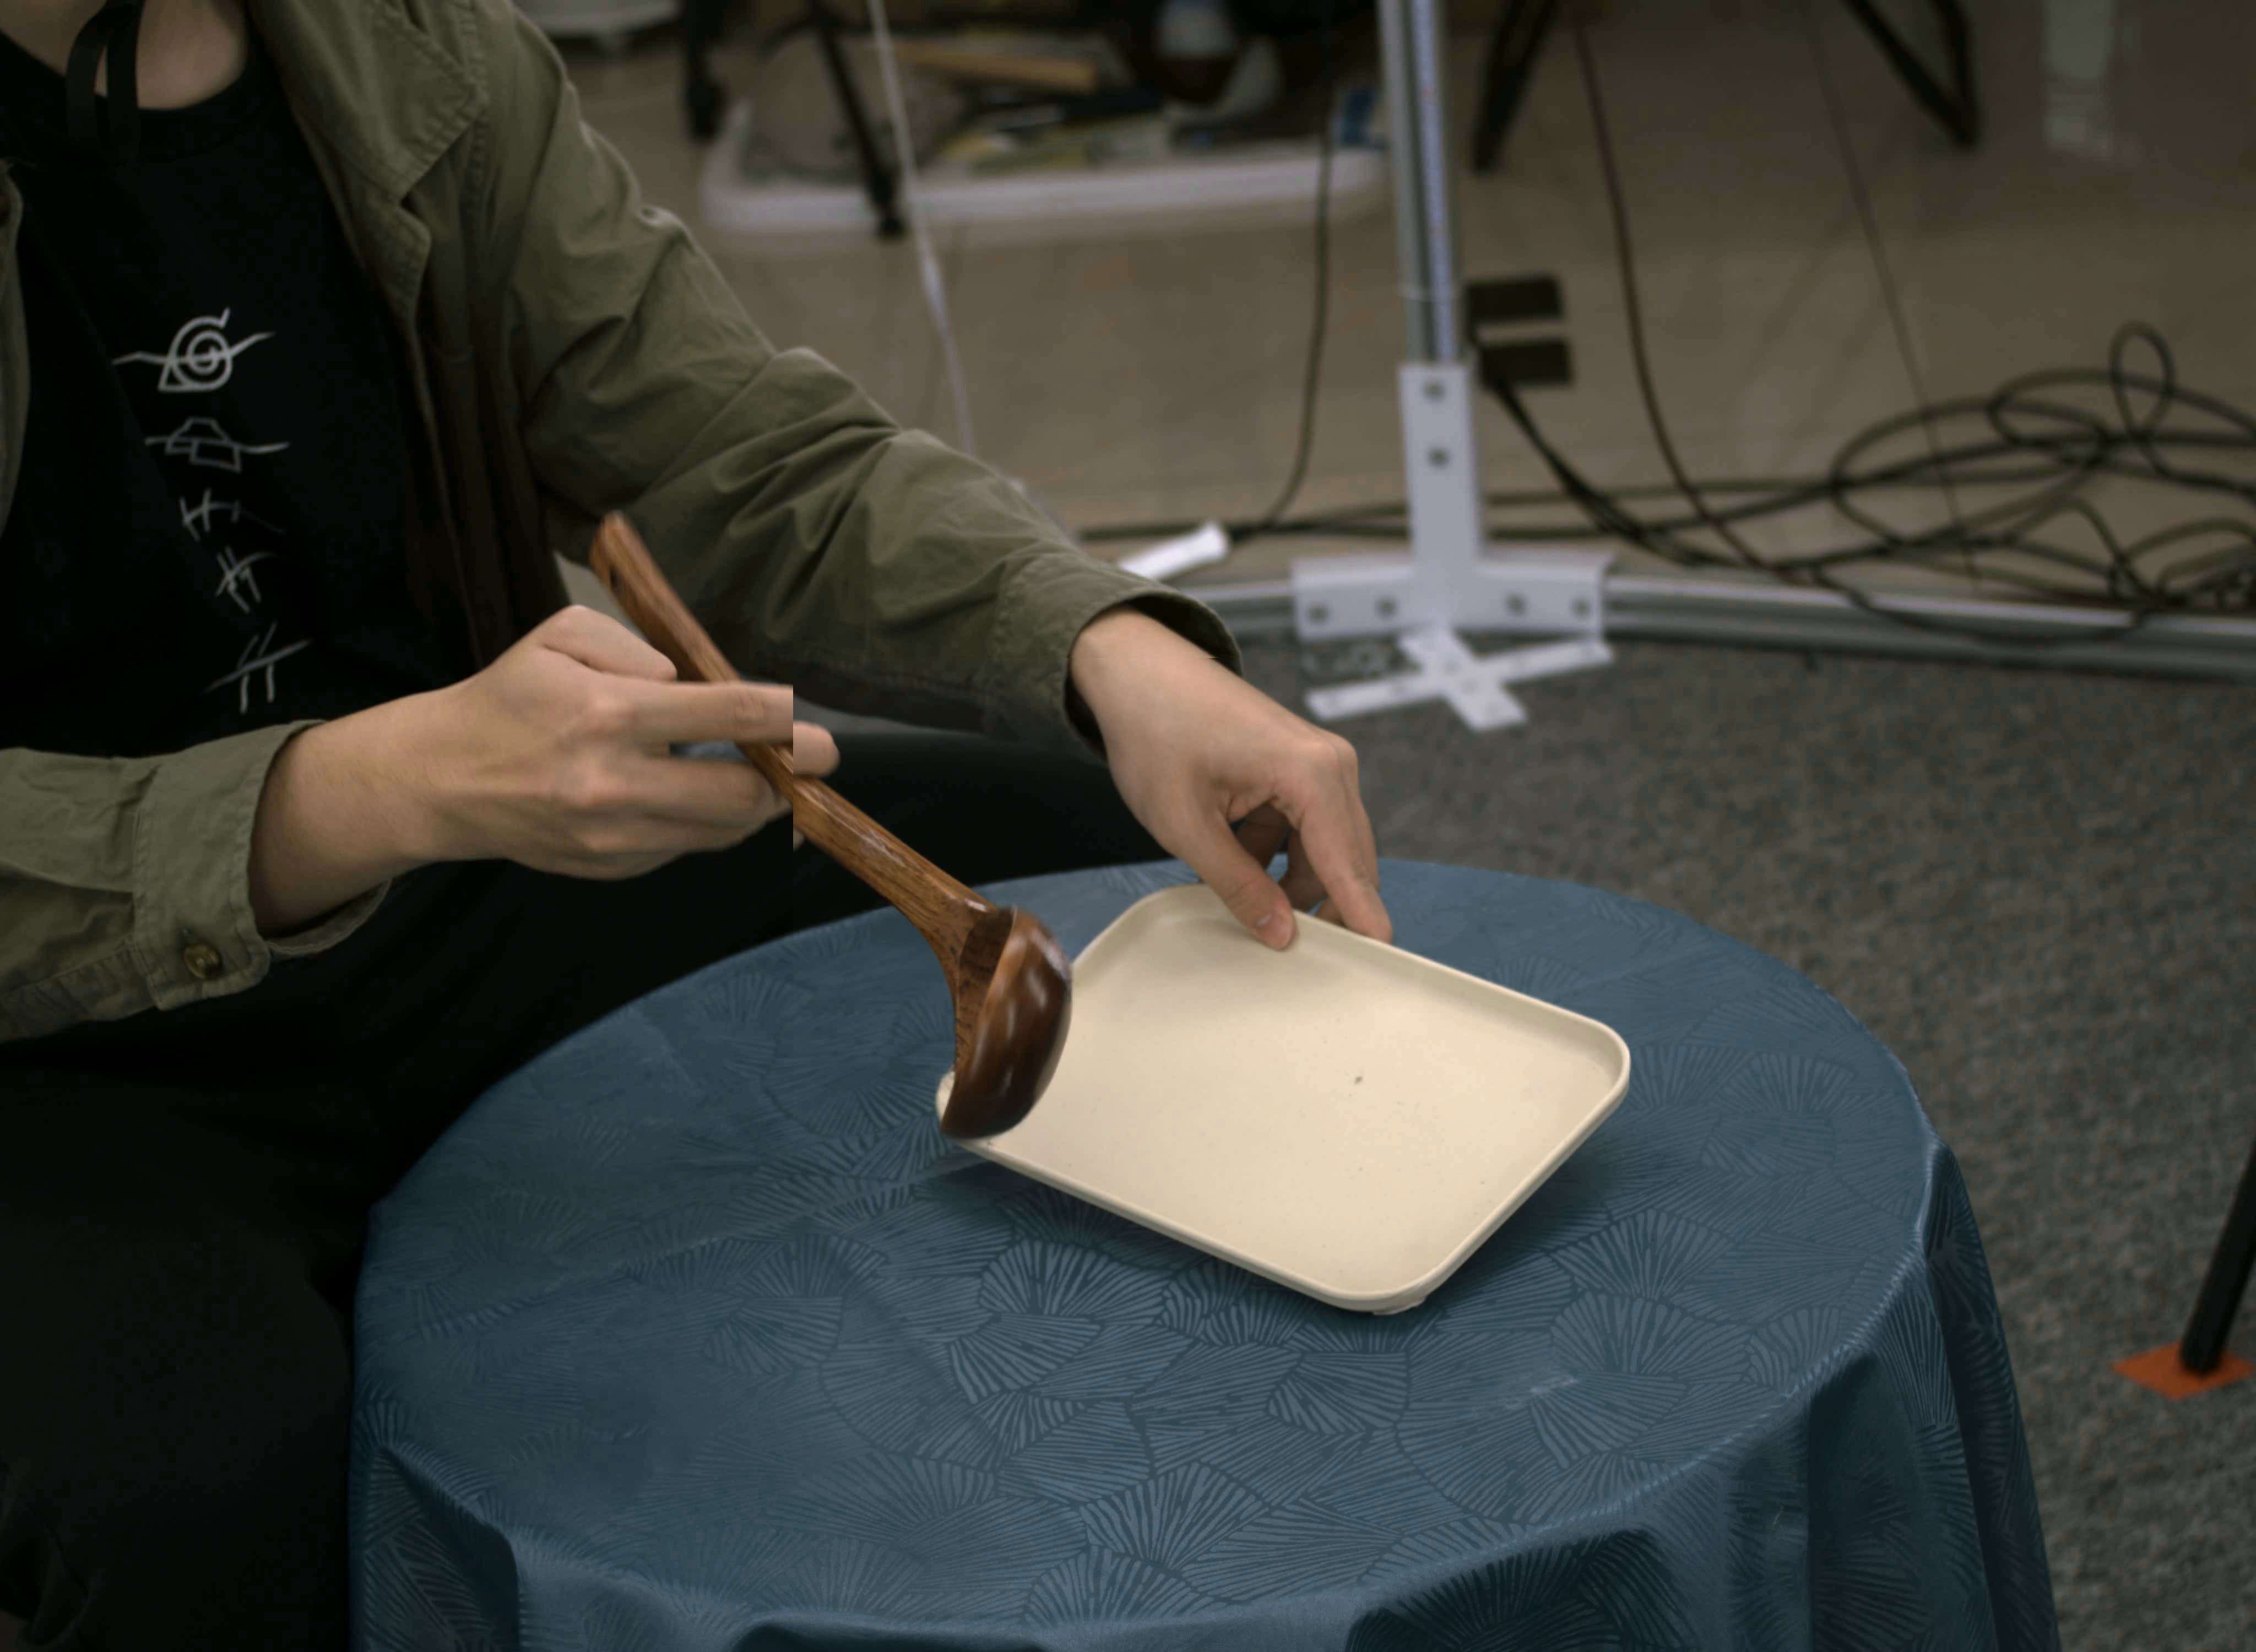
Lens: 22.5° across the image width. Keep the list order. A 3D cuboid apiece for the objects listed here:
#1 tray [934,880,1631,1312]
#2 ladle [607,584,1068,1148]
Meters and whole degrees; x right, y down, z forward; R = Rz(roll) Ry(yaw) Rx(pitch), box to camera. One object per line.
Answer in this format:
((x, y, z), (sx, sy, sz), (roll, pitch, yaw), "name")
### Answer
((0.058, 0.101, 2.141), (0.238, 0.018, 0.169), (21, 49, 35), "tray")
((-0.115, 0.008, 1.948), (0.271, 0.083, 0.076), (42, 33, 27), "ladle")
